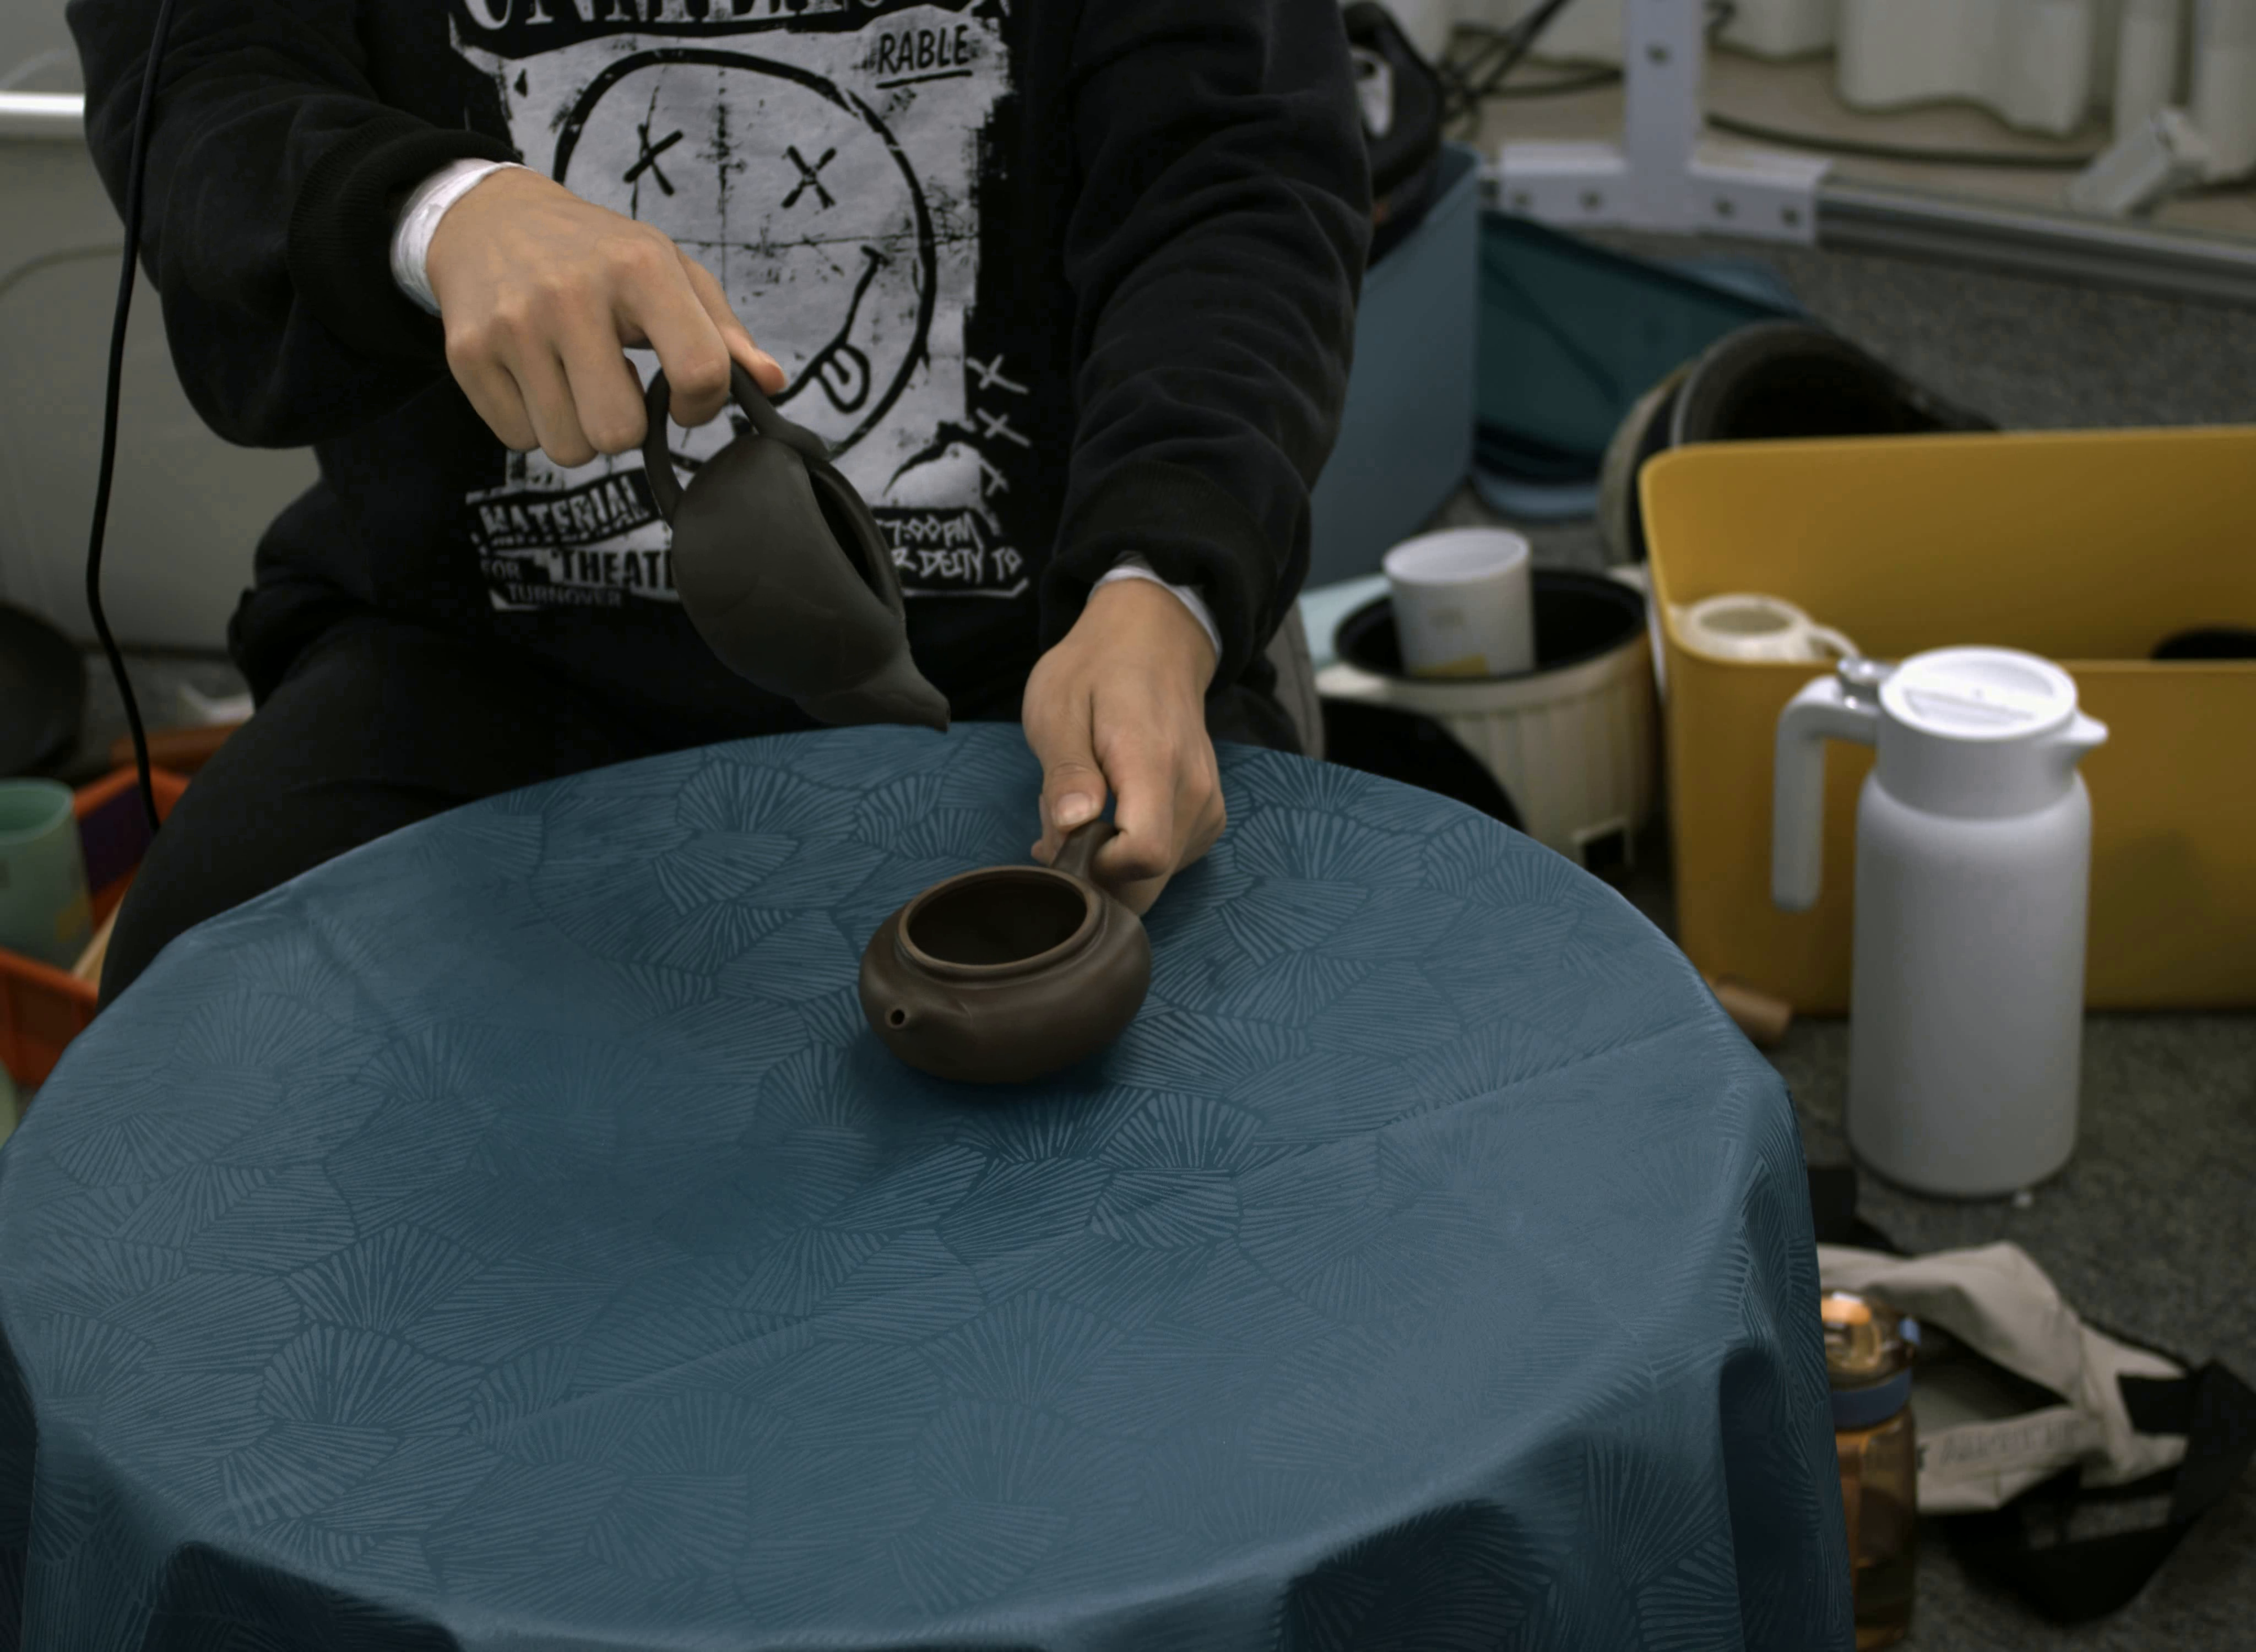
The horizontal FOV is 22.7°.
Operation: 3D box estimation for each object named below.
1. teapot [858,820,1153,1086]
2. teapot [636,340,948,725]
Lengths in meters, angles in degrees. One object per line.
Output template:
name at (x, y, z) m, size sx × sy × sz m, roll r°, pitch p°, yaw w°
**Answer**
teapot at (-0.041, 0.048, 1.943) m, size 0.102 × 0.053 × 0.156 m, roll 8°, pitch 33°, yaw 21°
teapot at (-0.115, -0.091, 1.874) m, size 0.064 × 0.154 × 0.093 m, roll -30°, pitch 5°, yaw 11°
